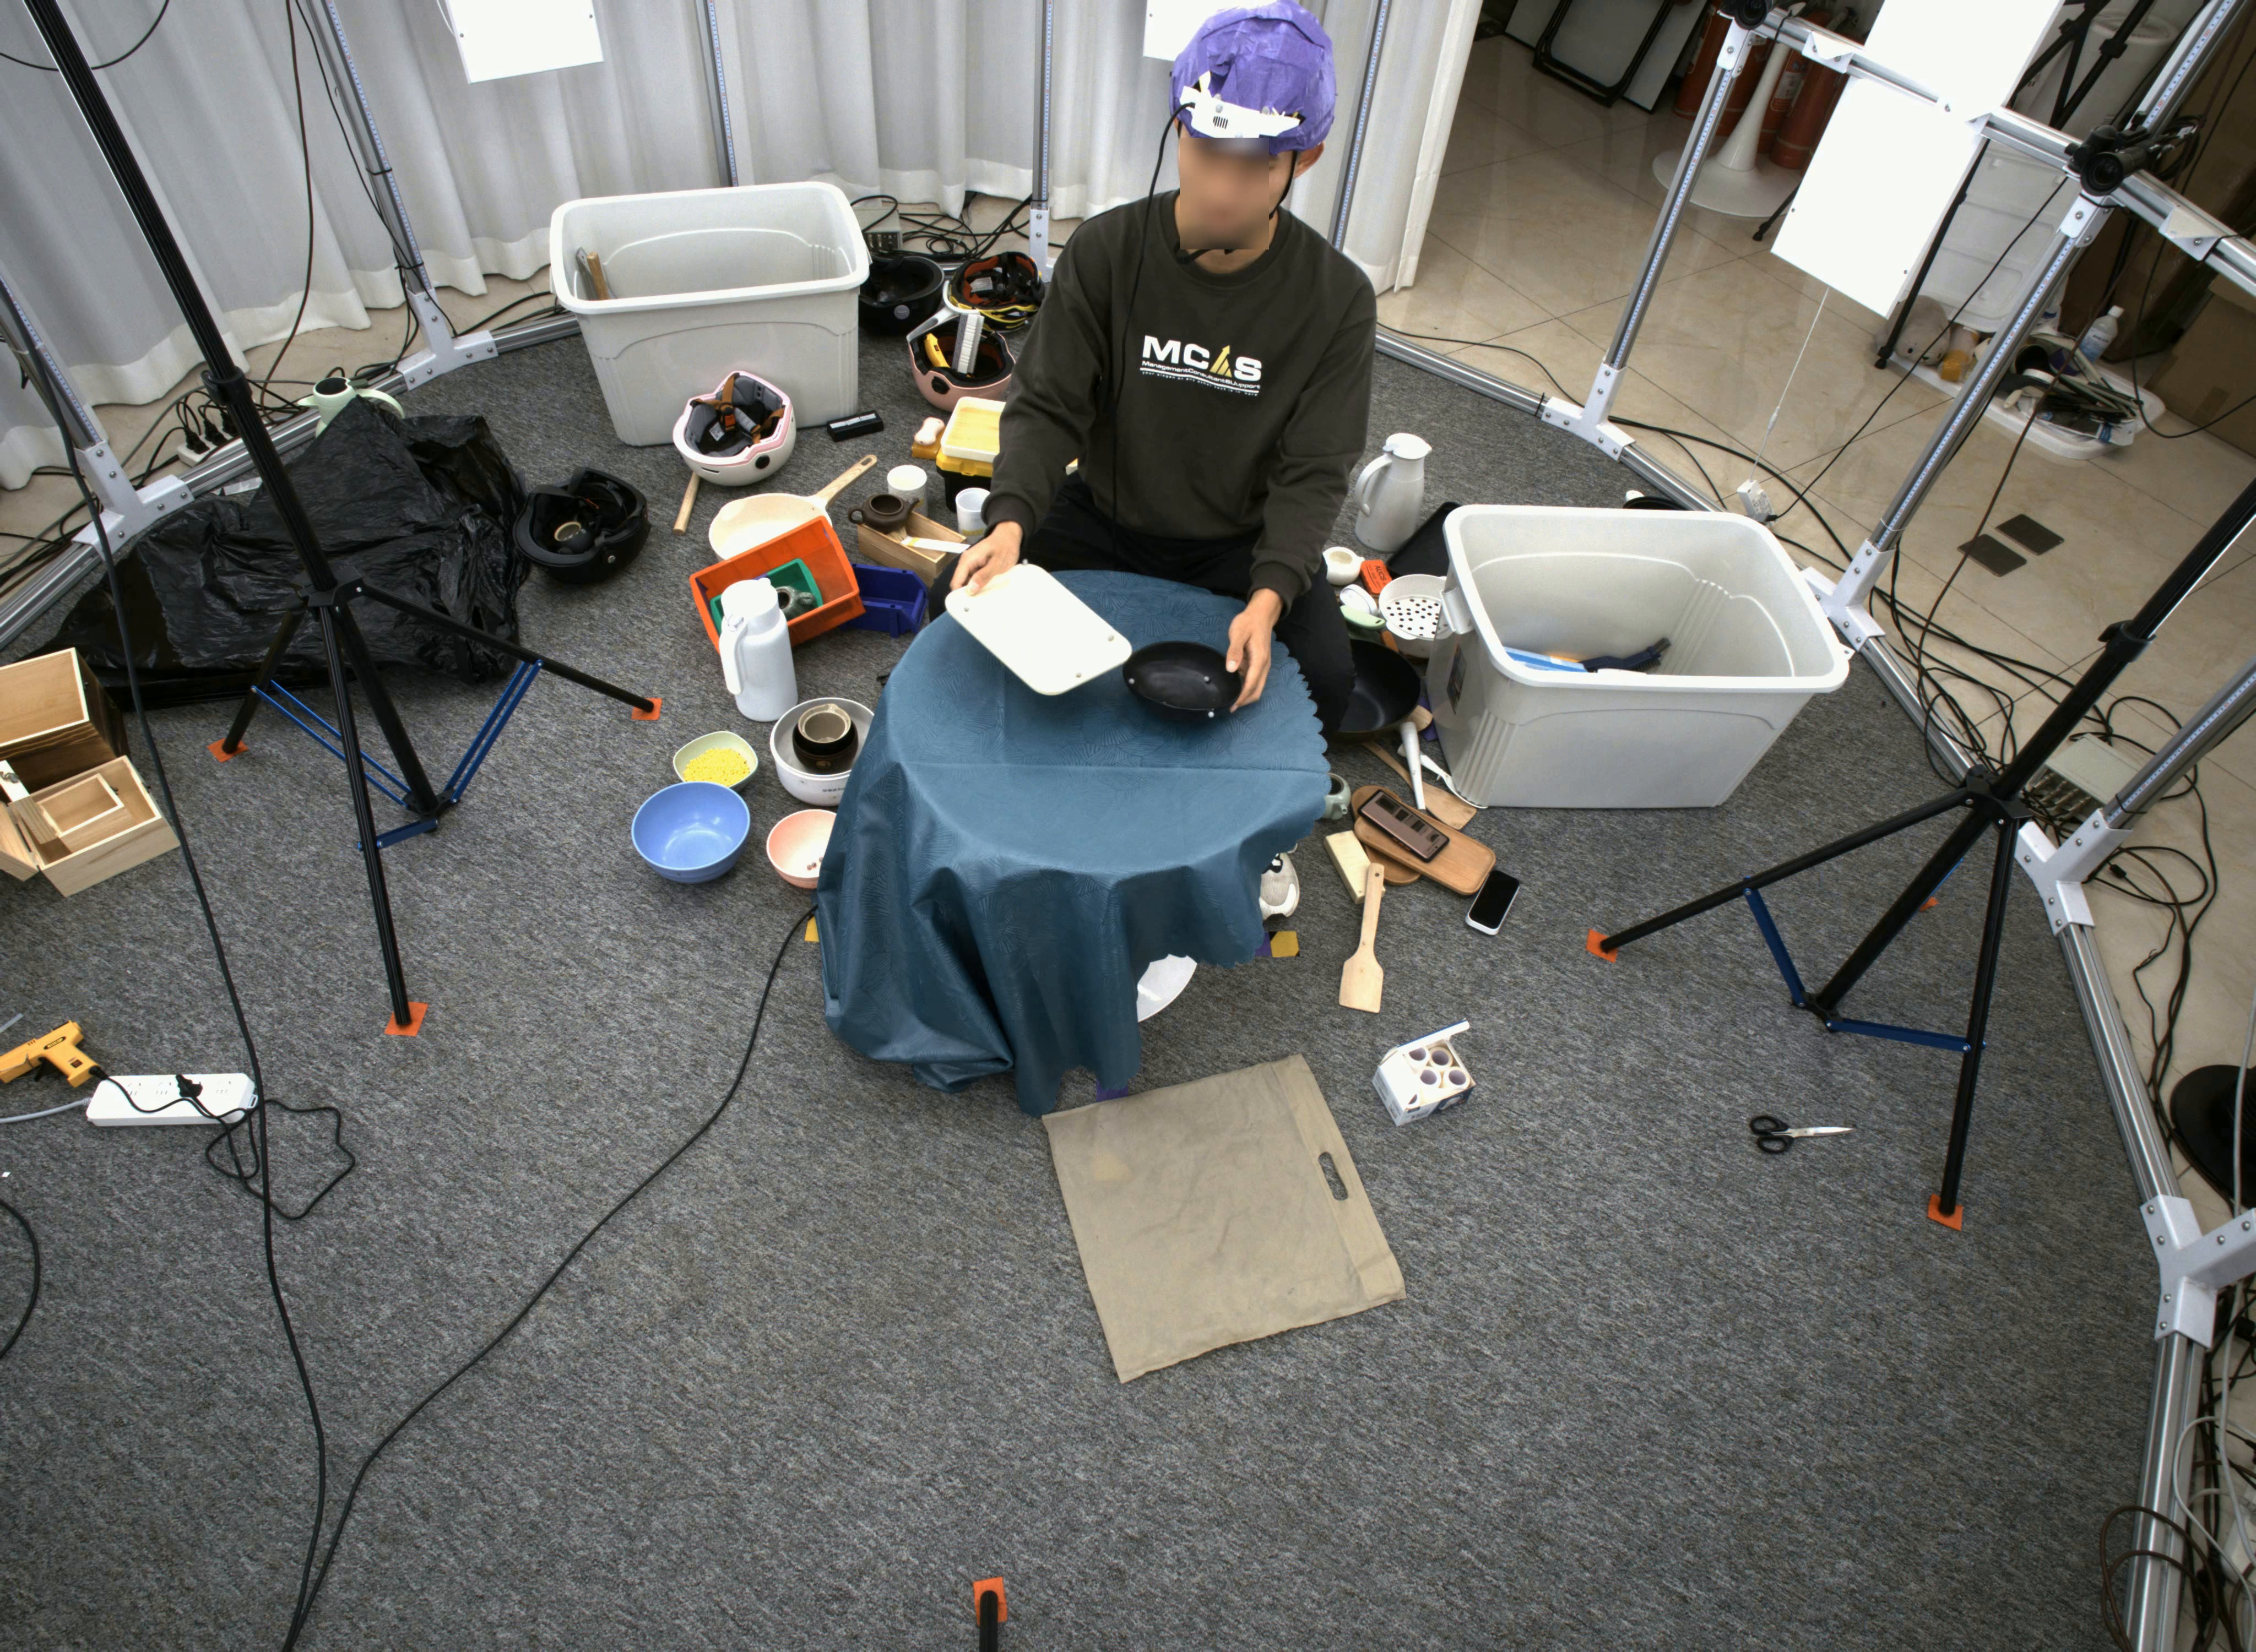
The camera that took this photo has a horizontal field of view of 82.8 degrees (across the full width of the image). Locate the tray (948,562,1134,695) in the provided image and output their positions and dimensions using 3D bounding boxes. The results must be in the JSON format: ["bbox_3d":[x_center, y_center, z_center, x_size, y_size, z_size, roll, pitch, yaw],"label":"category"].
[{"bbox_3d":[-0.120,-0.274,1.777,0.172,0.017,0.243,-30,60,-32],"label":"tray"}]

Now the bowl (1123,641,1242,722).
[{"bbox_3d":[0.074,-0.191,1.796,0.171,0.065,0.140,15,48,11],"label":"bowl"}]
